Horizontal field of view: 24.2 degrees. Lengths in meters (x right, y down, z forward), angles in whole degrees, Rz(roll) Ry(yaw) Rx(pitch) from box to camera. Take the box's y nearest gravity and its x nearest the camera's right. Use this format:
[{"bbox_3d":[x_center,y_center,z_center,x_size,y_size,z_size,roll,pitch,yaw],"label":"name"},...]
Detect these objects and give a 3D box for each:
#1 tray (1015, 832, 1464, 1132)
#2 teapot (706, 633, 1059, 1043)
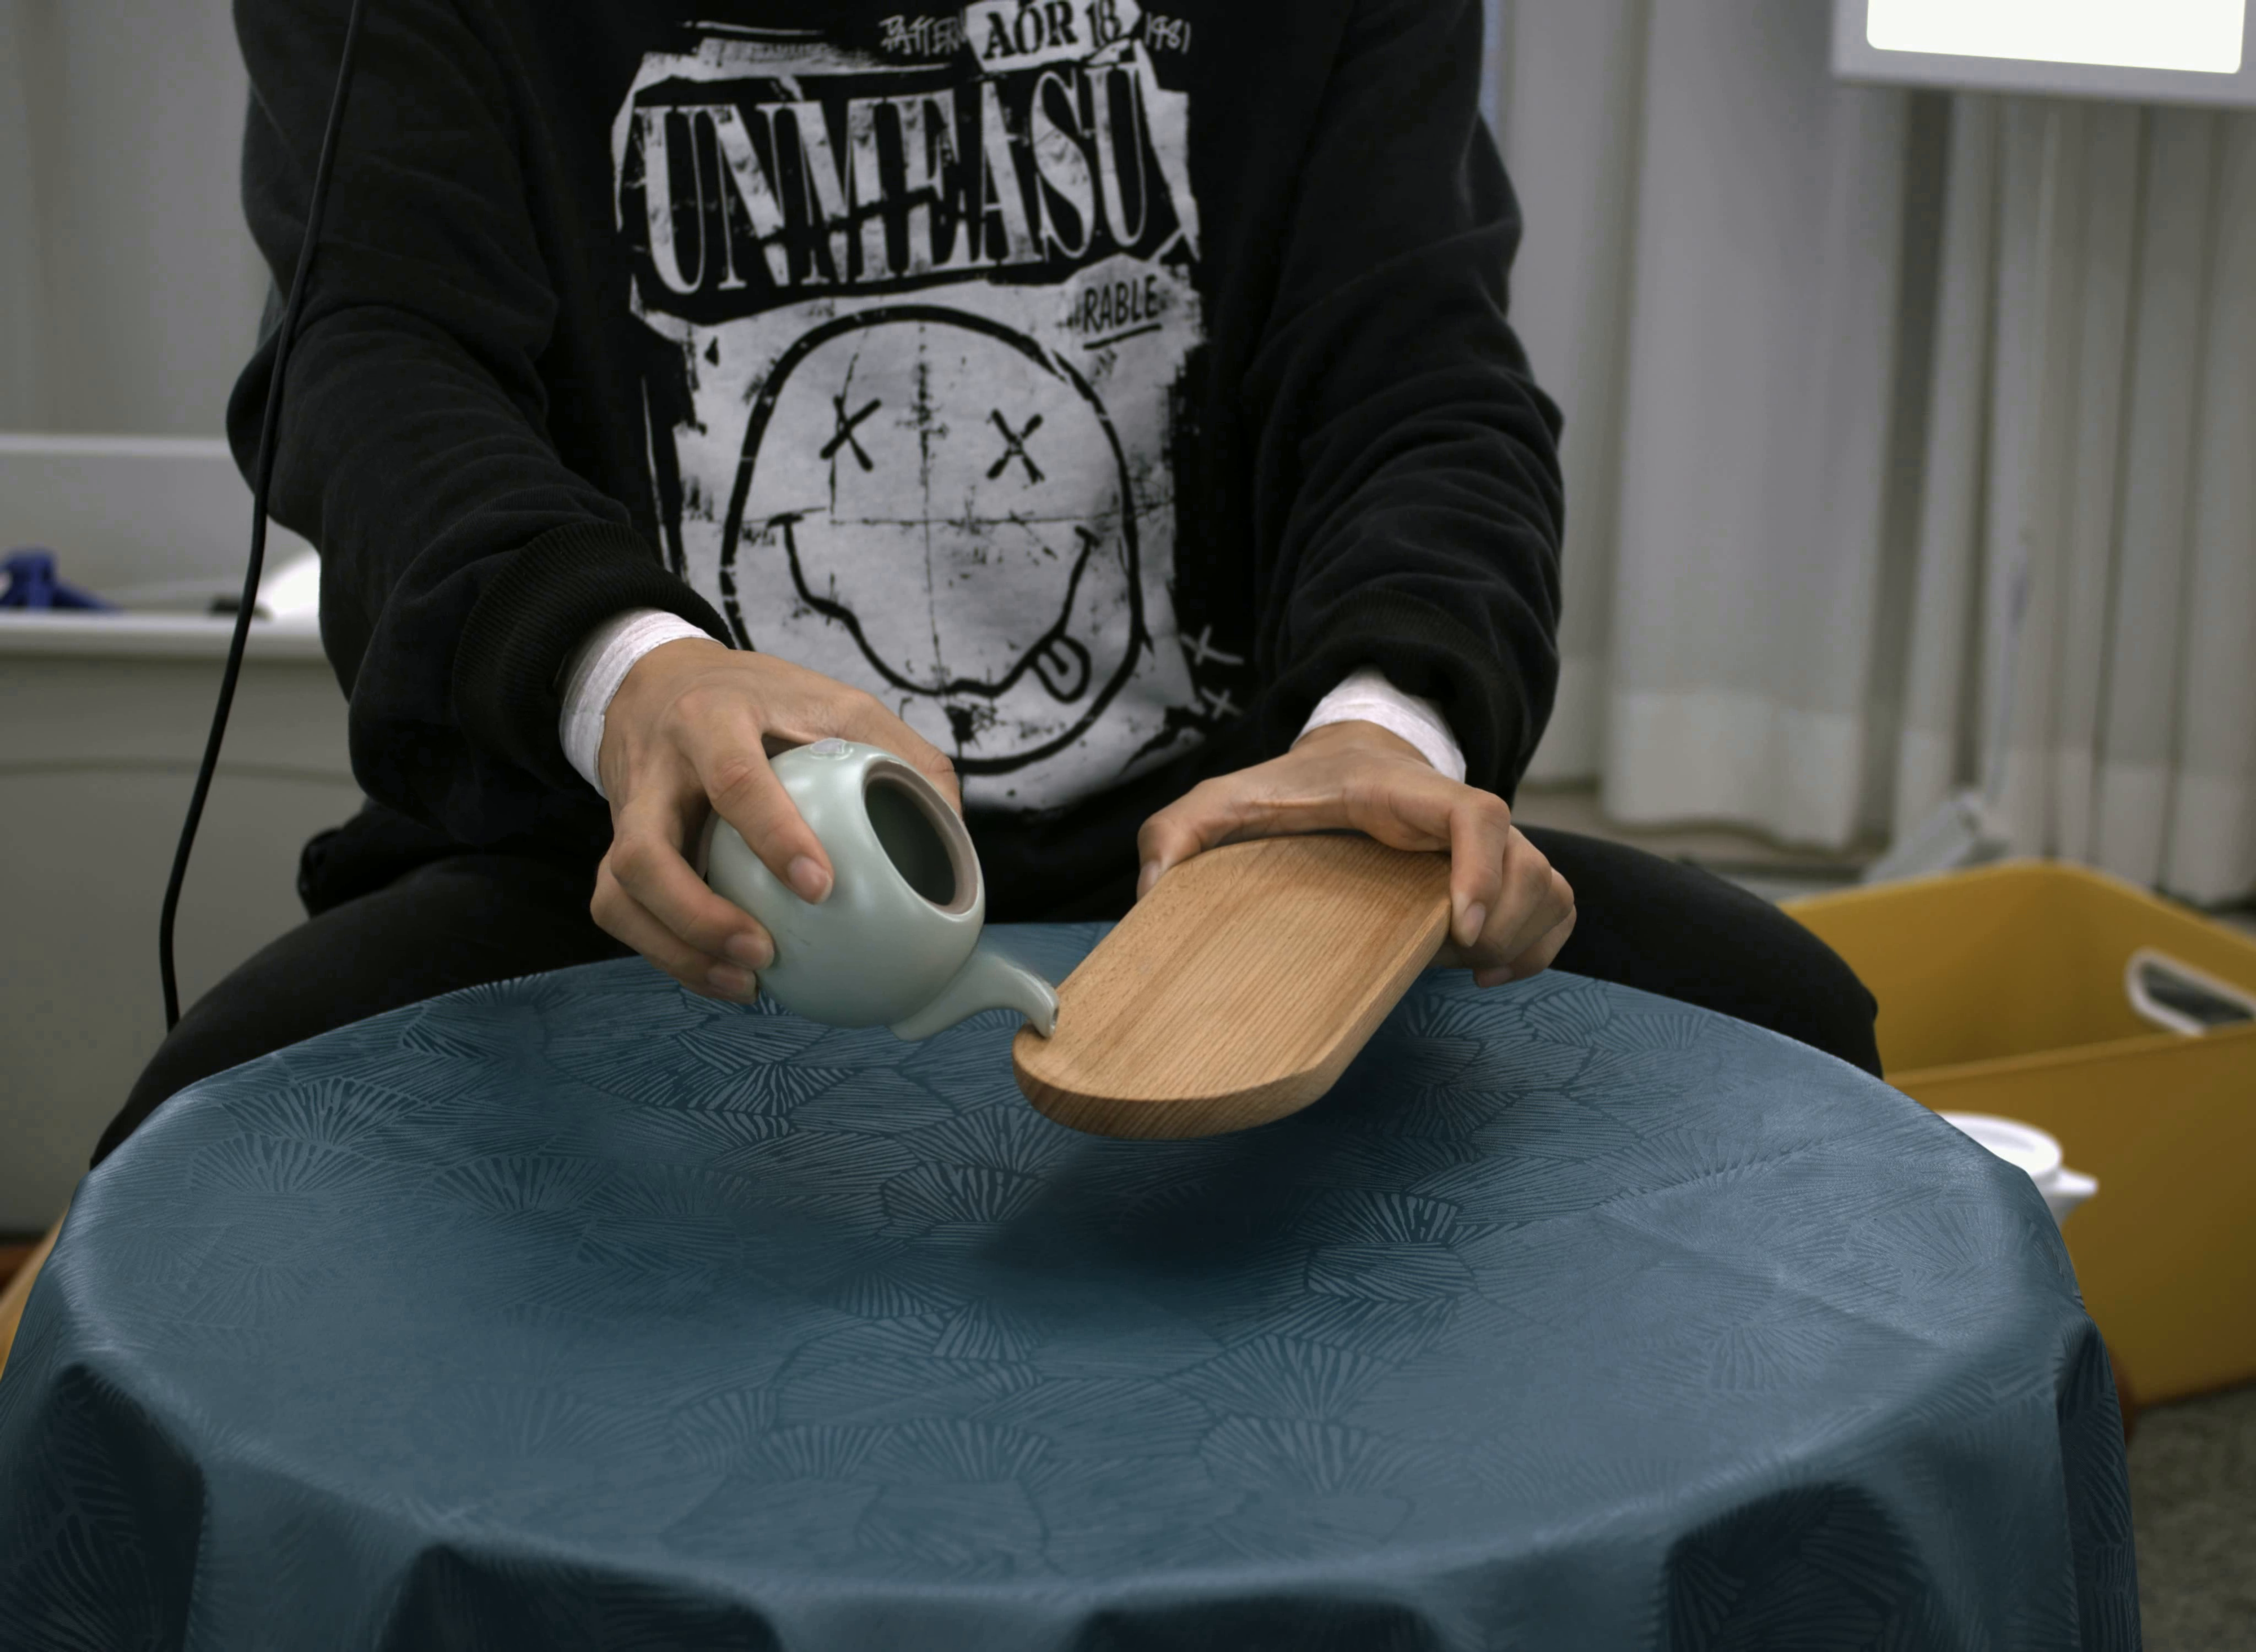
[{"bbox_3d":[0.037,0.046,1.633,0.101,0.020,0.231,5,19,18],"label":"tray"},{"bbox_3d":[-0.084,0.016,1.583,0.074,0.144,0.088,-29,7,22],"label":"teapot"}]
